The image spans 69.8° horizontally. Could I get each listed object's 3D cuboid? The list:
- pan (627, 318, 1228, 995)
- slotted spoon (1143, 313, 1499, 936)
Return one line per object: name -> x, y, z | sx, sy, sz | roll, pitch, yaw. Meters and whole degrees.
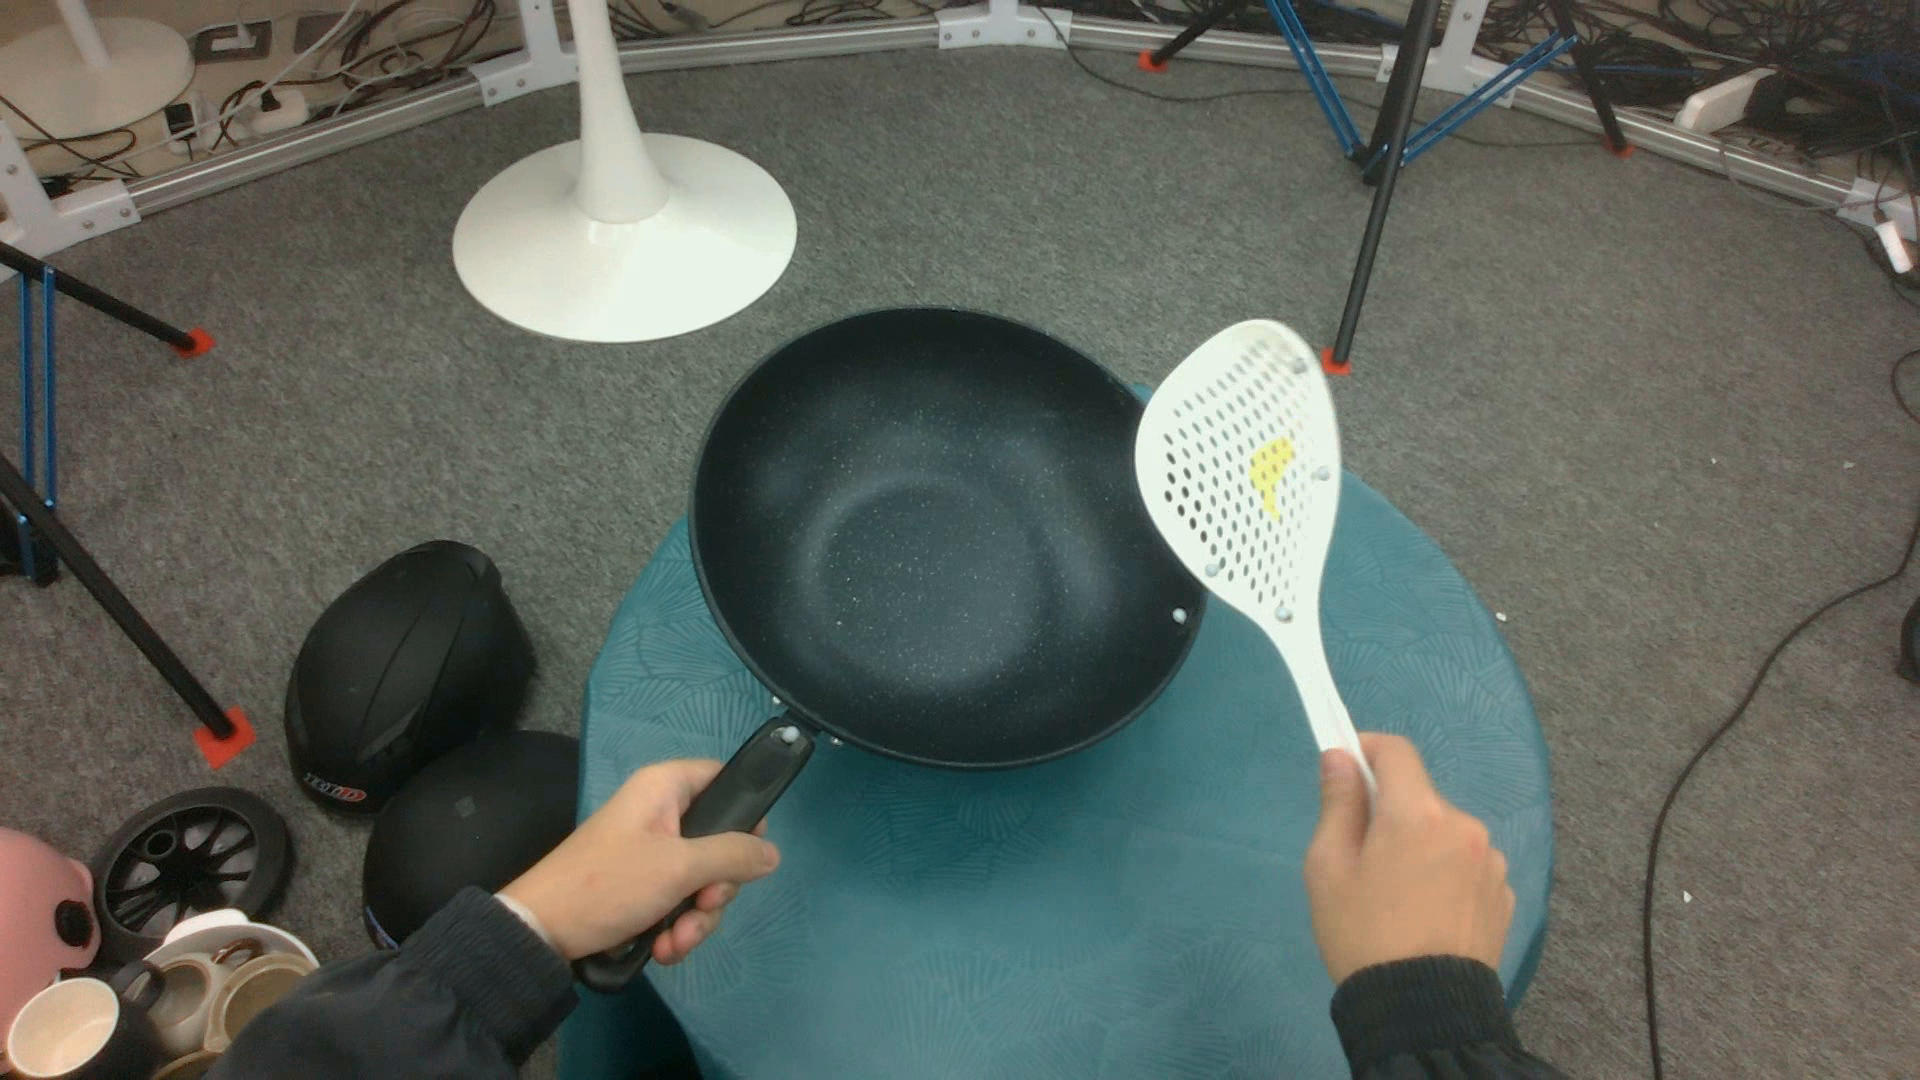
pan -> -0.035, 0.062, 0.796 | 0.310, 0.111, 0.479 | 29, 58, 8
slotted spoon -> 0.191, 0.037, 0.723 | 0.050, 0.136, 0.349 | 15, 50, -38
